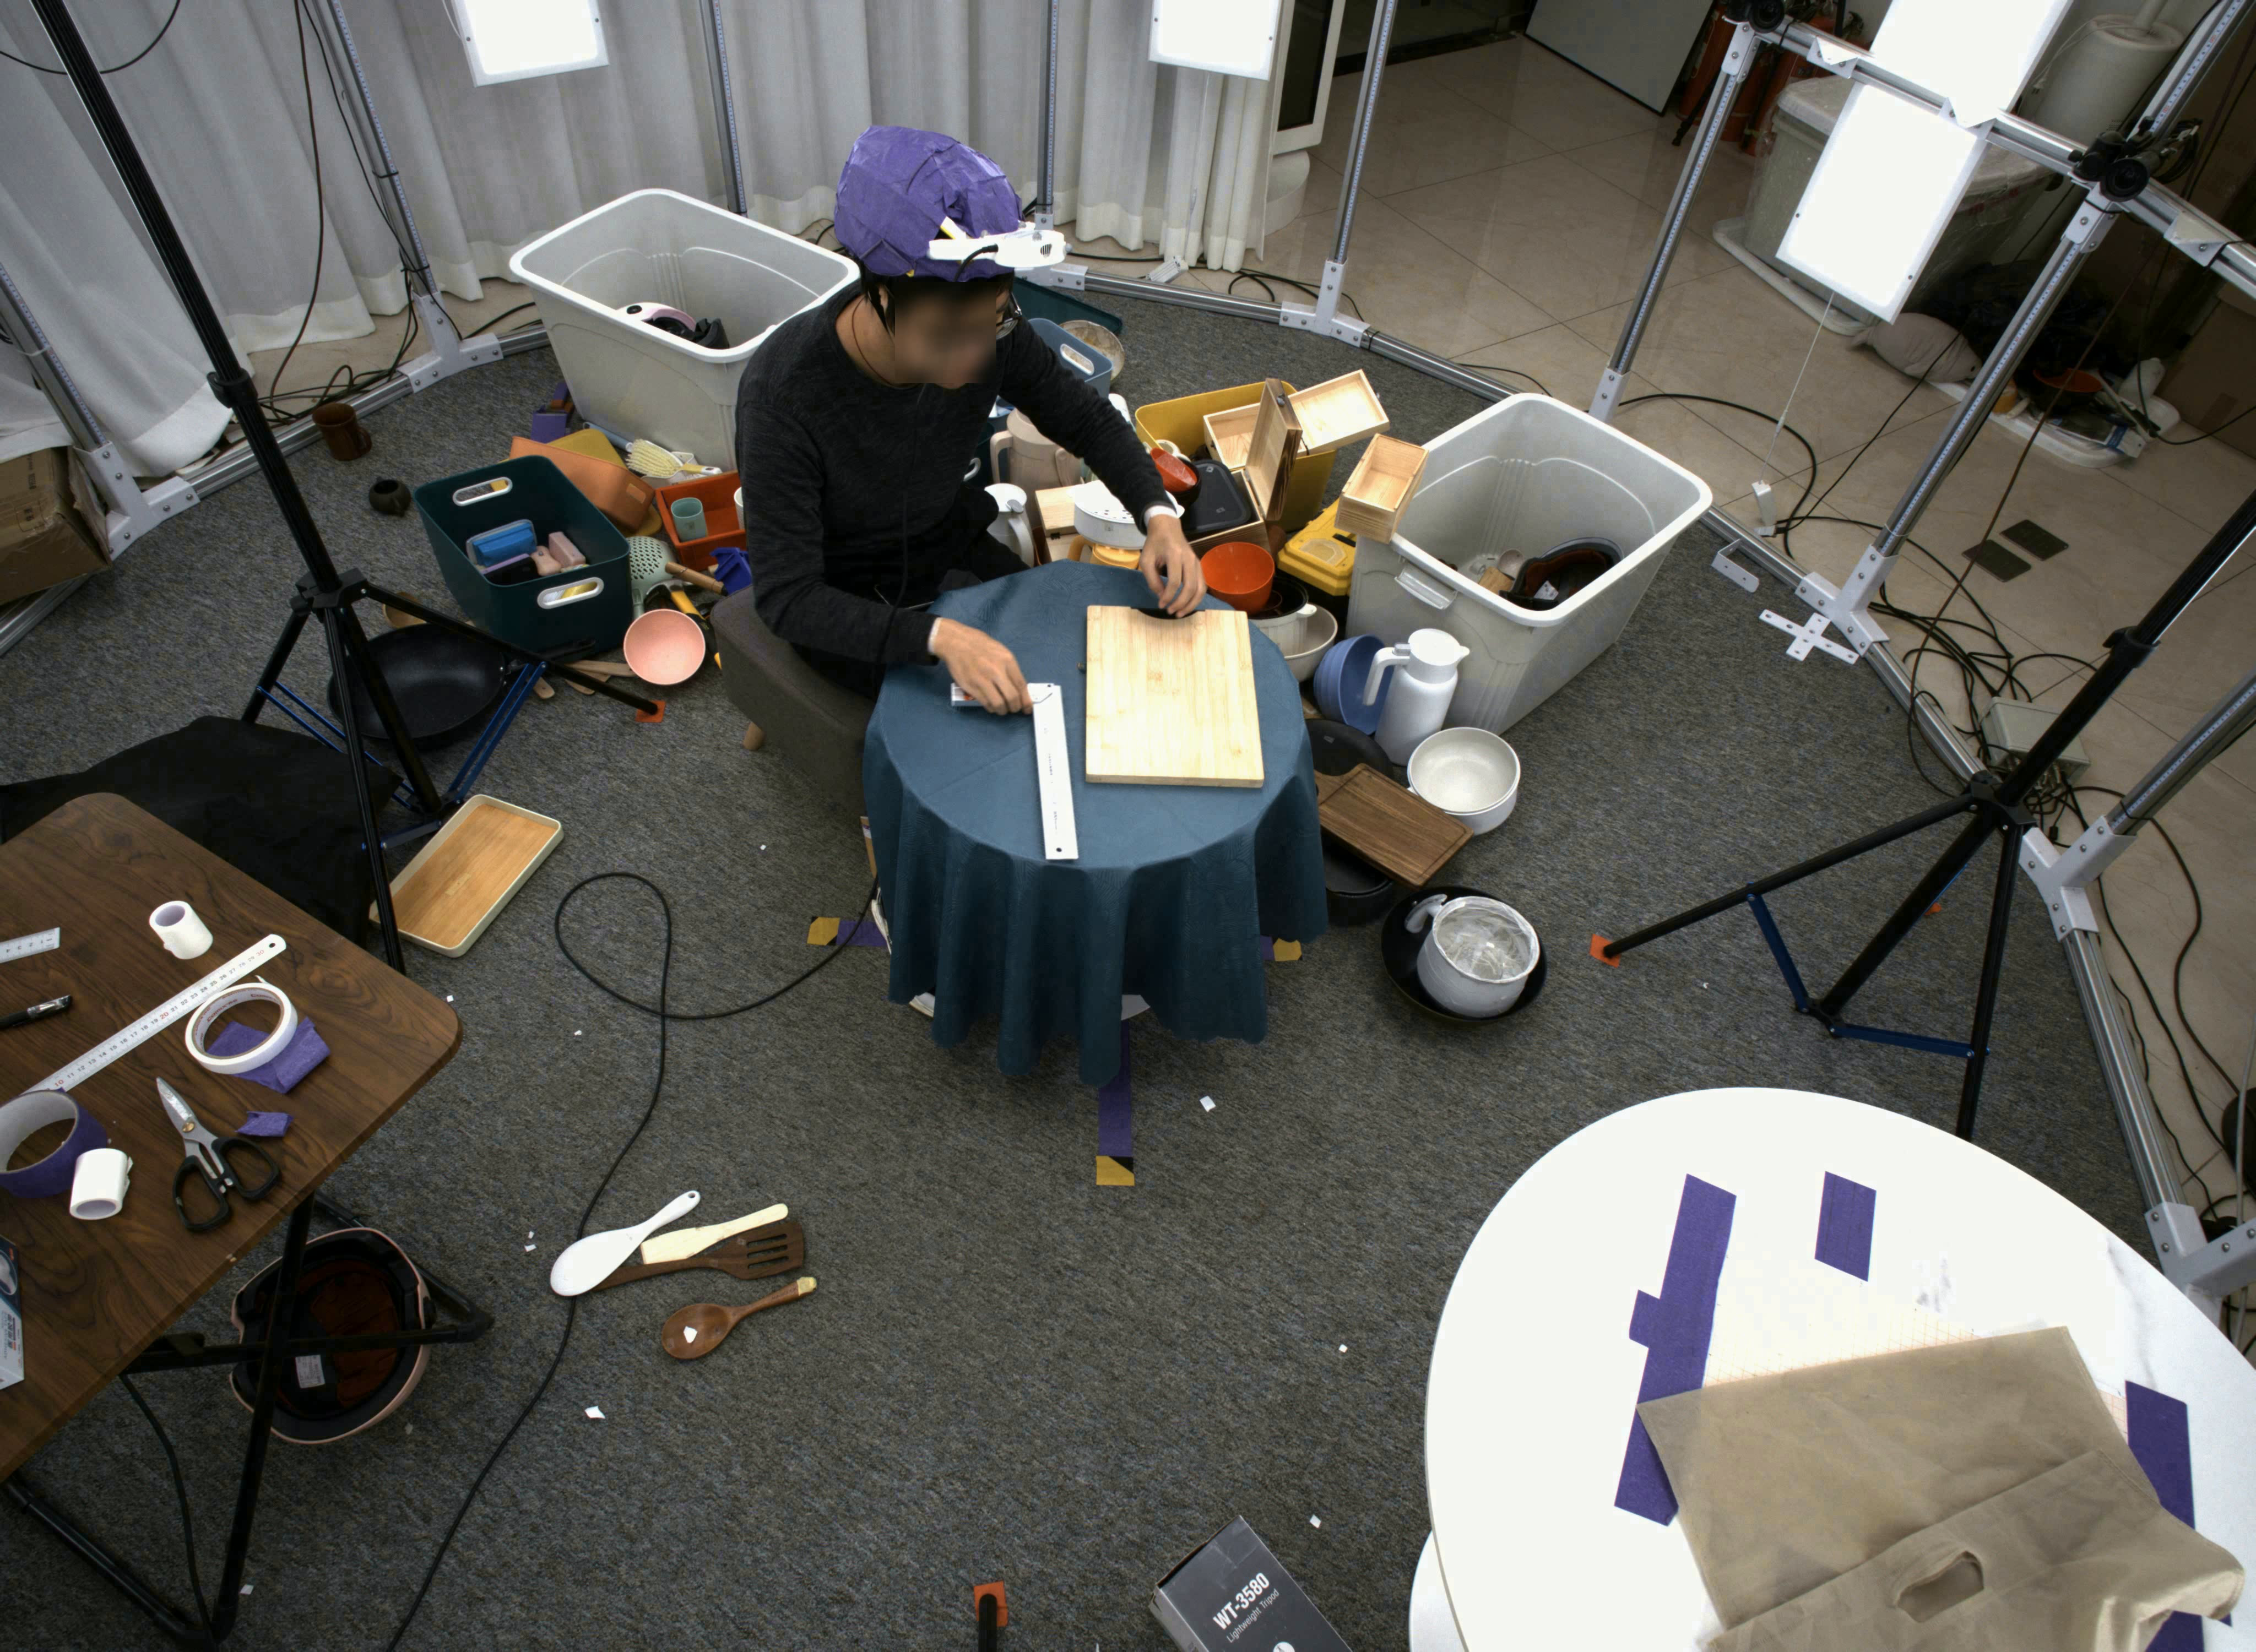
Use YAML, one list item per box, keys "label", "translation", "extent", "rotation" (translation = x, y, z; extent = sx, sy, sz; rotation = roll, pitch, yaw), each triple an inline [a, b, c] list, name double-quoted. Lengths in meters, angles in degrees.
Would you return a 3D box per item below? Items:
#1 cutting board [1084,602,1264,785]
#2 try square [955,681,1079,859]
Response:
- label: "cutting board"
  translation: [0.061, -0.196, 1.834]
  extent: [0.250, 0.023, 0.357]
  rotation: [1, 49, -3]
- label: "try square"
  translation: [-0.151, -0.080, 1.707]
  extent: [0.152, 0.015, 0.321]
  rotation: [-1, 50, -7]
